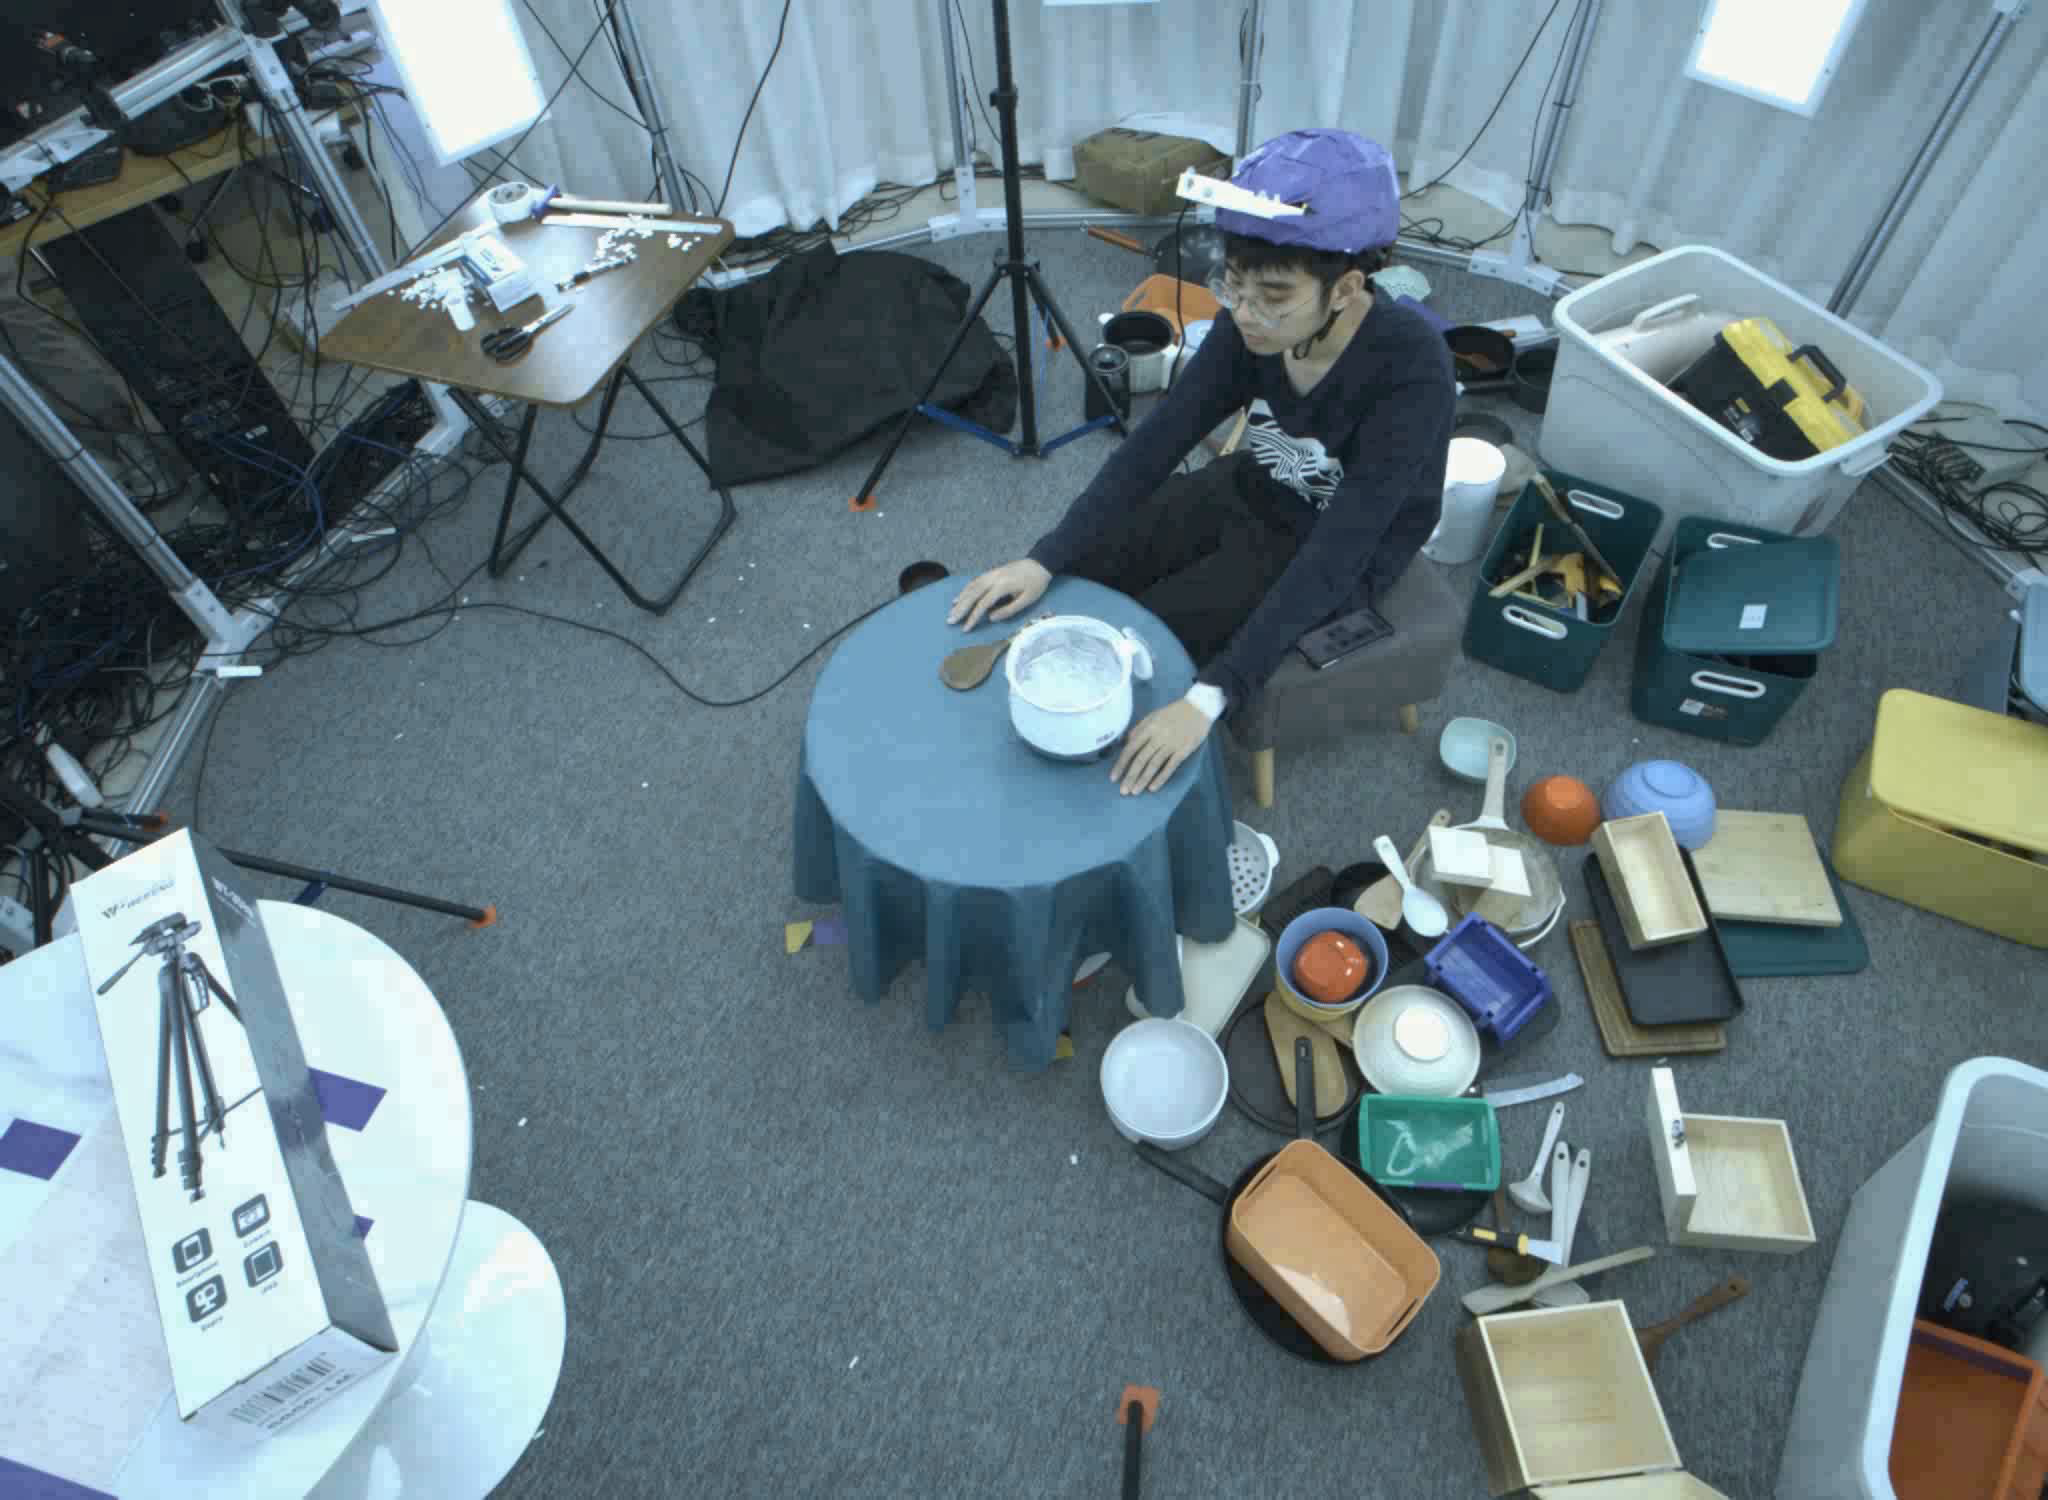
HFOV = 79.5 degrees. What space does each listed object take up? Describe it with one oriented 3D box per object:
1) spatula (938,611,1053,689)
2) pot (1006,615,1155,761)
[{"bbox_3d":[-0.038,-0.159,1.907,0.217,0.009,0.070,-33,61,-22],"label":"spatula"},{"bbox_3d":[0.088,-0.099,1.778,0.235,0.138,0.175,-31,62,-17],"label":"pot"}]
